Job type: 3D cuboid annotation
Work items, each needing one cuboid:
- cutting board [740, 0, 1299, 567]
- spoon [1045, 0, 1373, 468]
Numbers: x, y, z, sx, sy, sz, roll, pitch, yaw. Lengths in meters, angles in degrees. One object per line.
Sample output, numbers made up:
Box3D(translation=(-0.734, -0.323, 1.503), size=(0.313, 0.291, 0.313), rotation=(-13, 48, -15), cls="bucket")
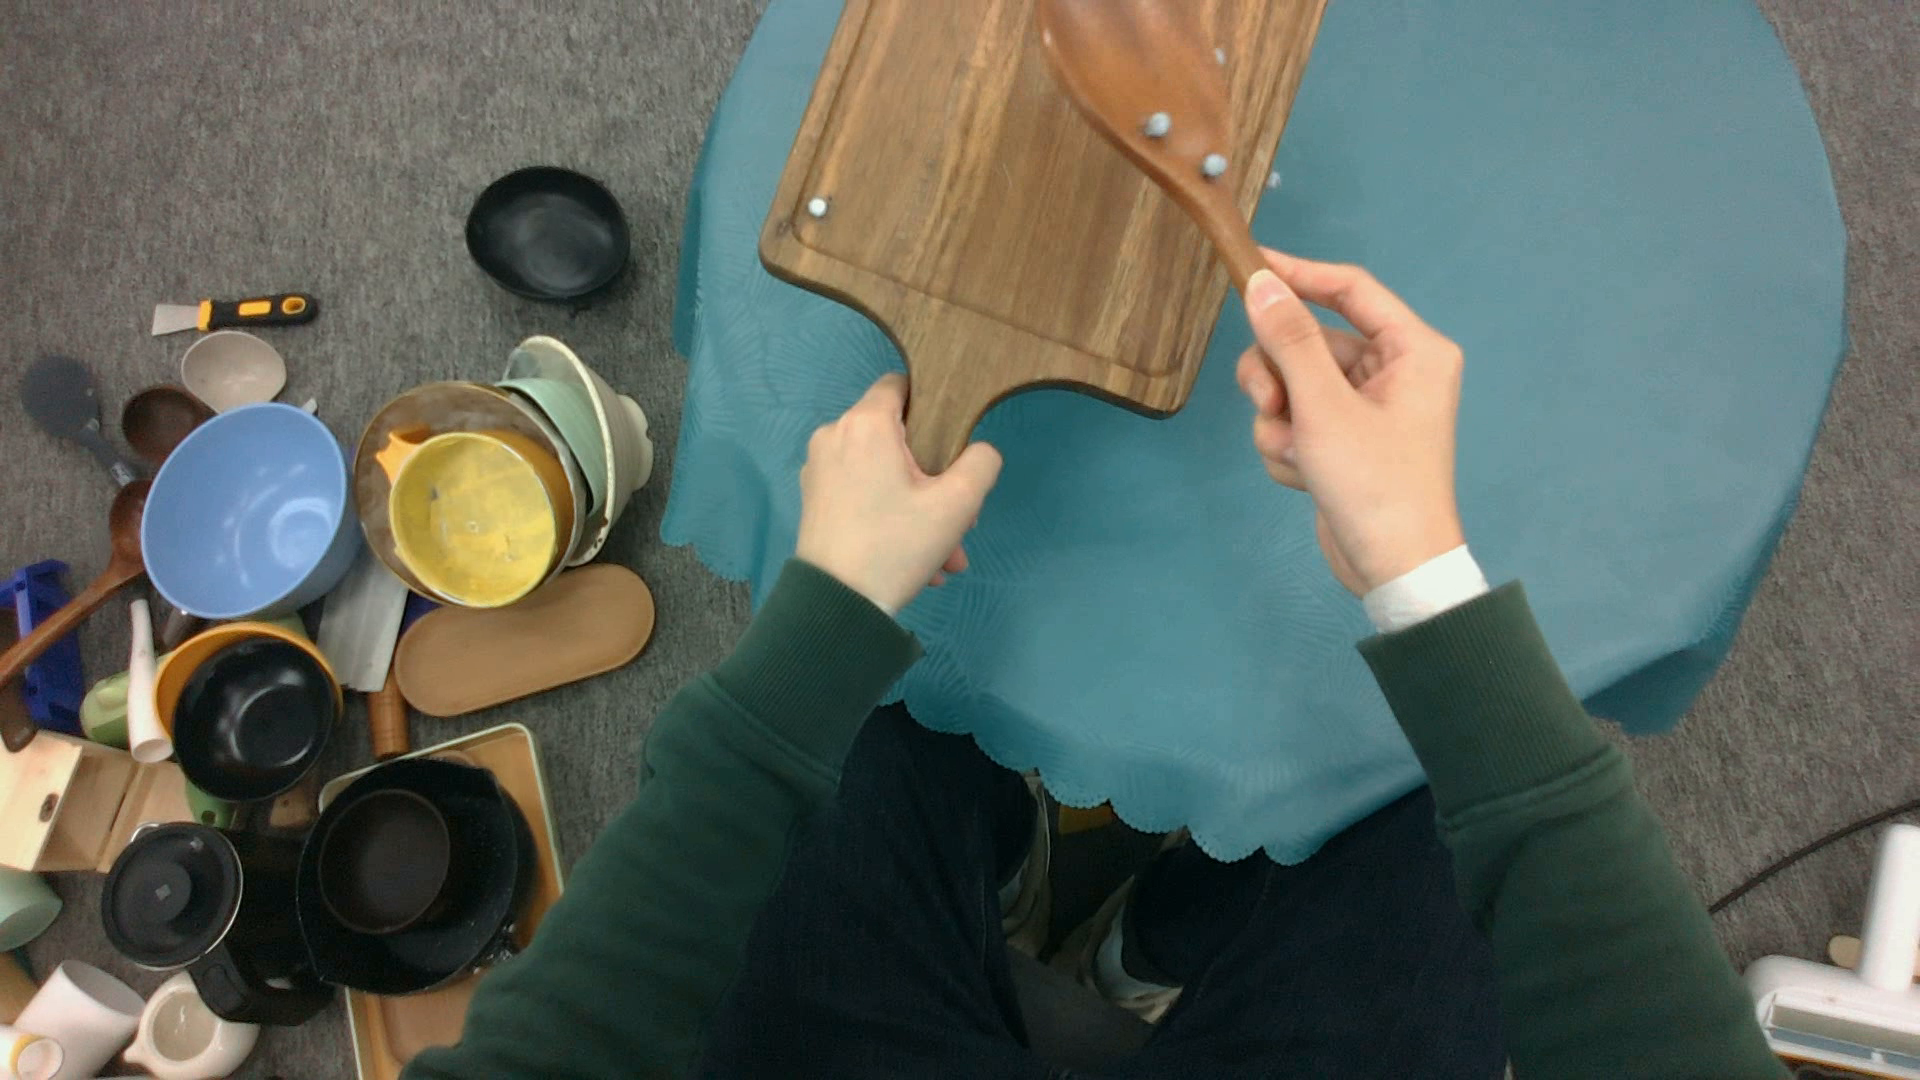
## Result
Box3D(translation=(0.020, -0.156, 0.604), size=(0.201, 0.023, 0.352), rotation=(19, 83, -4), cls="cutting board")
Box3D(translation=(0.092, -0.124, 0.502), size=(0.076, 0.017, 0.216), rotation=(-24, 85, -37), cls="spoon")
